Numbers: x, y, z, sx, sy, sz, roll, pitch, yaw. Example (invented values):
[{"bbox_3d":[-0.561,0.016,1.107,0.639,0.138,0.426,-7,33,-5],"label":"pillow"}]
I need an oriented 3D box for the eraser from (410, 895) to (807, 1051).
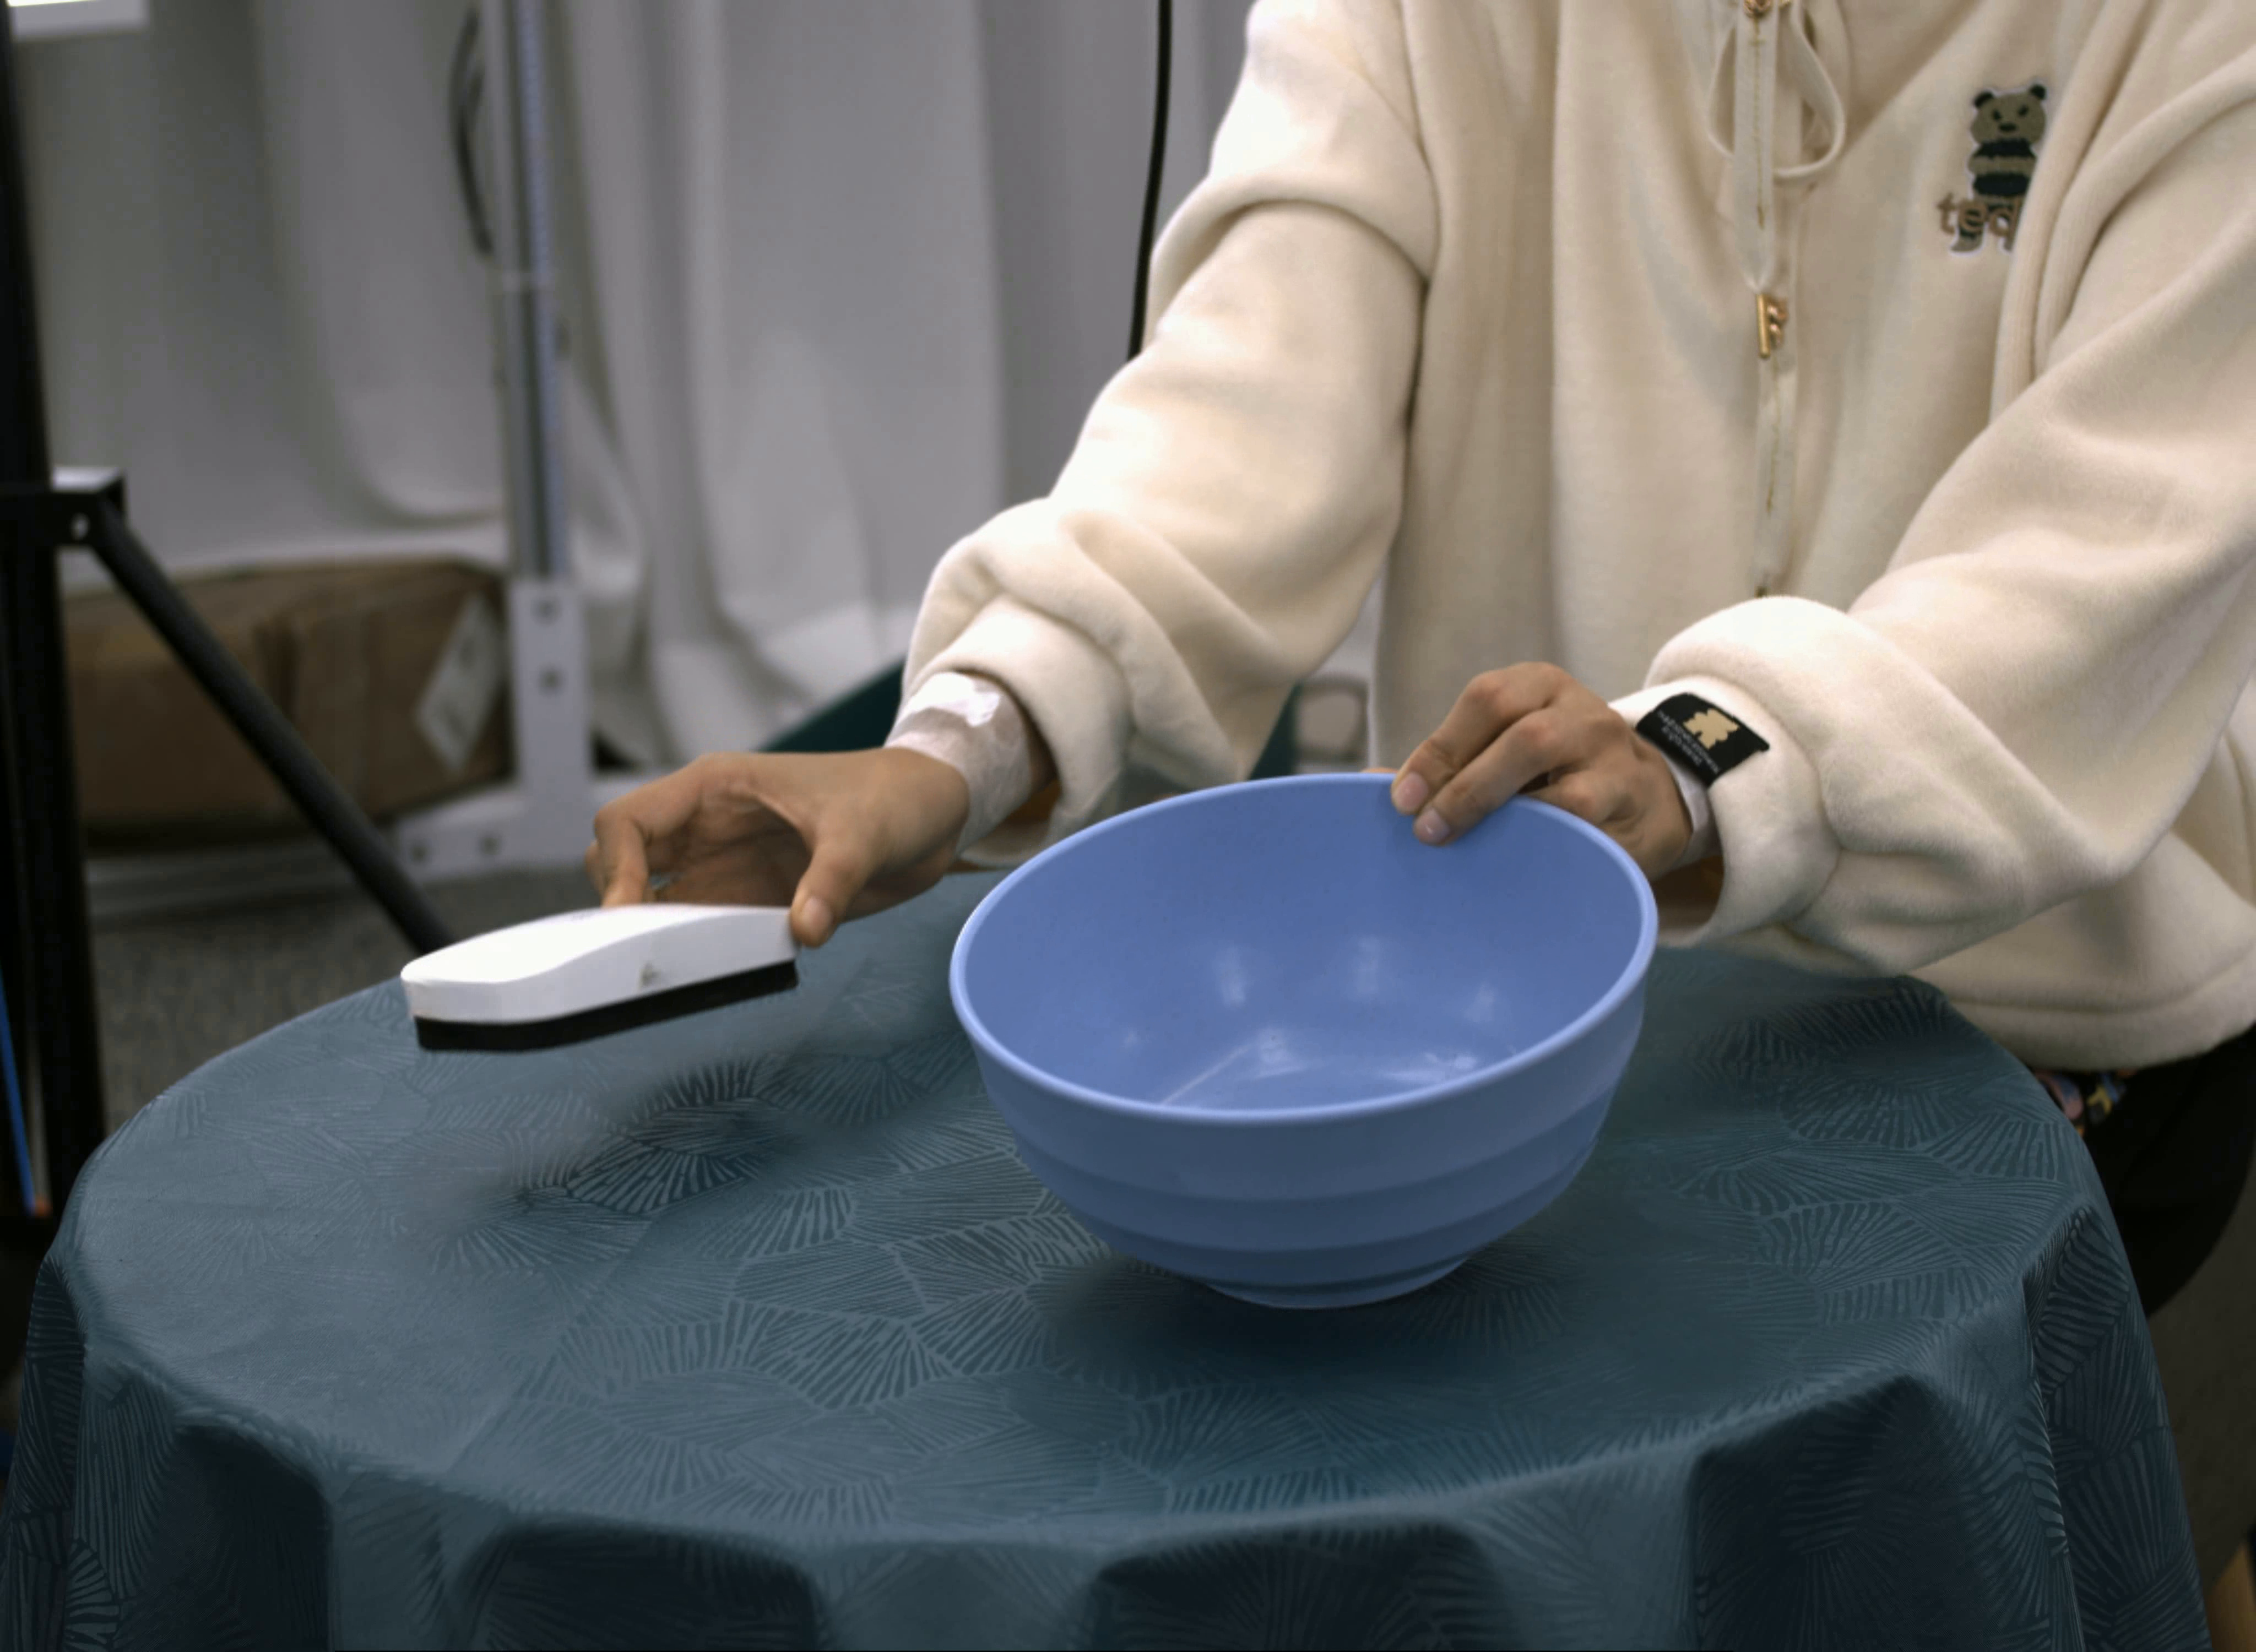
[{"bbox_3d":[-0.153,0.041,1.599,0.064,0.034,0.128,-1,8,38],"label":"eraser"}]

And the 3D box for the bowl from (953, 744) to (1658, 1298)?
[{"bbox_3d":[0.056,0.067,1.481,0.196,0.095,0.198,-10,29,4],"label":"bowl"}]
